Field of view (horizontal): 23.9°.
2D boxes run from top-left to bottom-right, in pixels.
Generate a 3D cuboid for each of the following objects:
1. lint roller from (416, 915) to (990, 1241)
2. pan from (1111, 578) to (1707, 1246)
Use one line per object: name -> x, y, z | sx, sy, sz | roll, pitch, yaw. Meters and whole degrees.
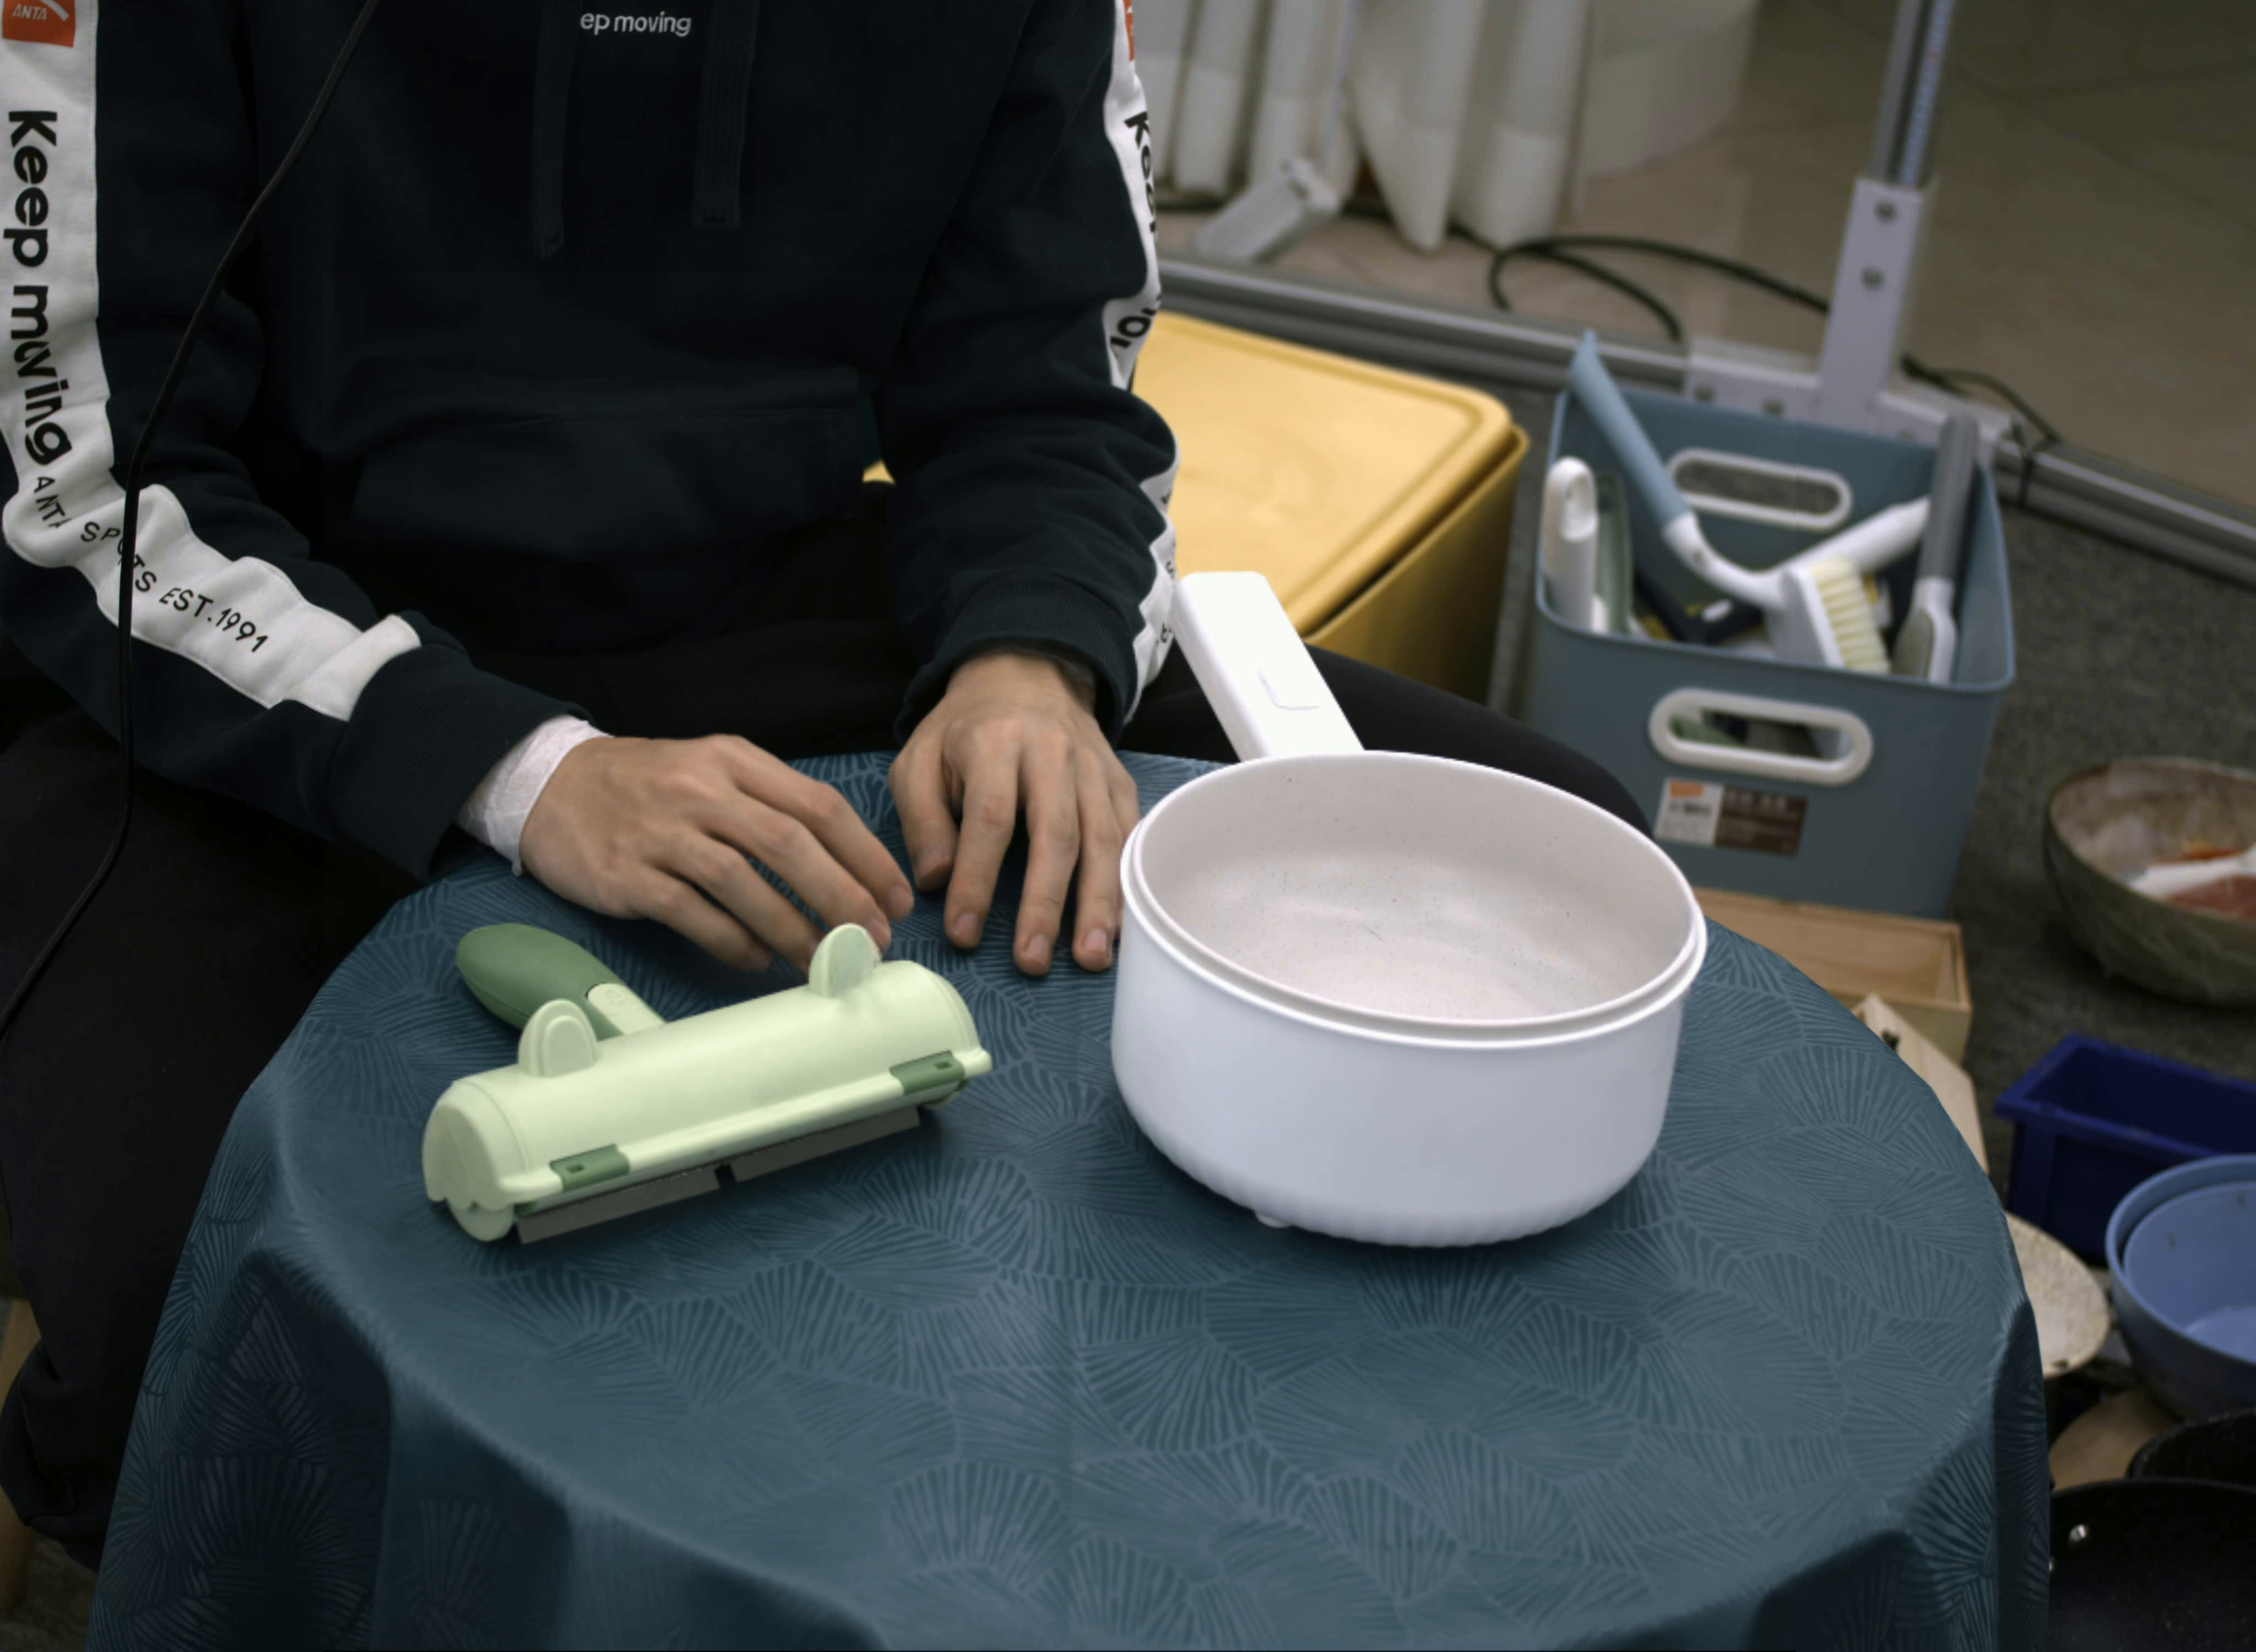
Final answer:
lint roller -> -0.173, 0.057, 1.808 | 0.197, 0.082, 0.185 | -14, 39, -35
pan -> 0.075, 0.028, 1.895 | 0.200, 0.102, 0.358 | -1, 27, -14
